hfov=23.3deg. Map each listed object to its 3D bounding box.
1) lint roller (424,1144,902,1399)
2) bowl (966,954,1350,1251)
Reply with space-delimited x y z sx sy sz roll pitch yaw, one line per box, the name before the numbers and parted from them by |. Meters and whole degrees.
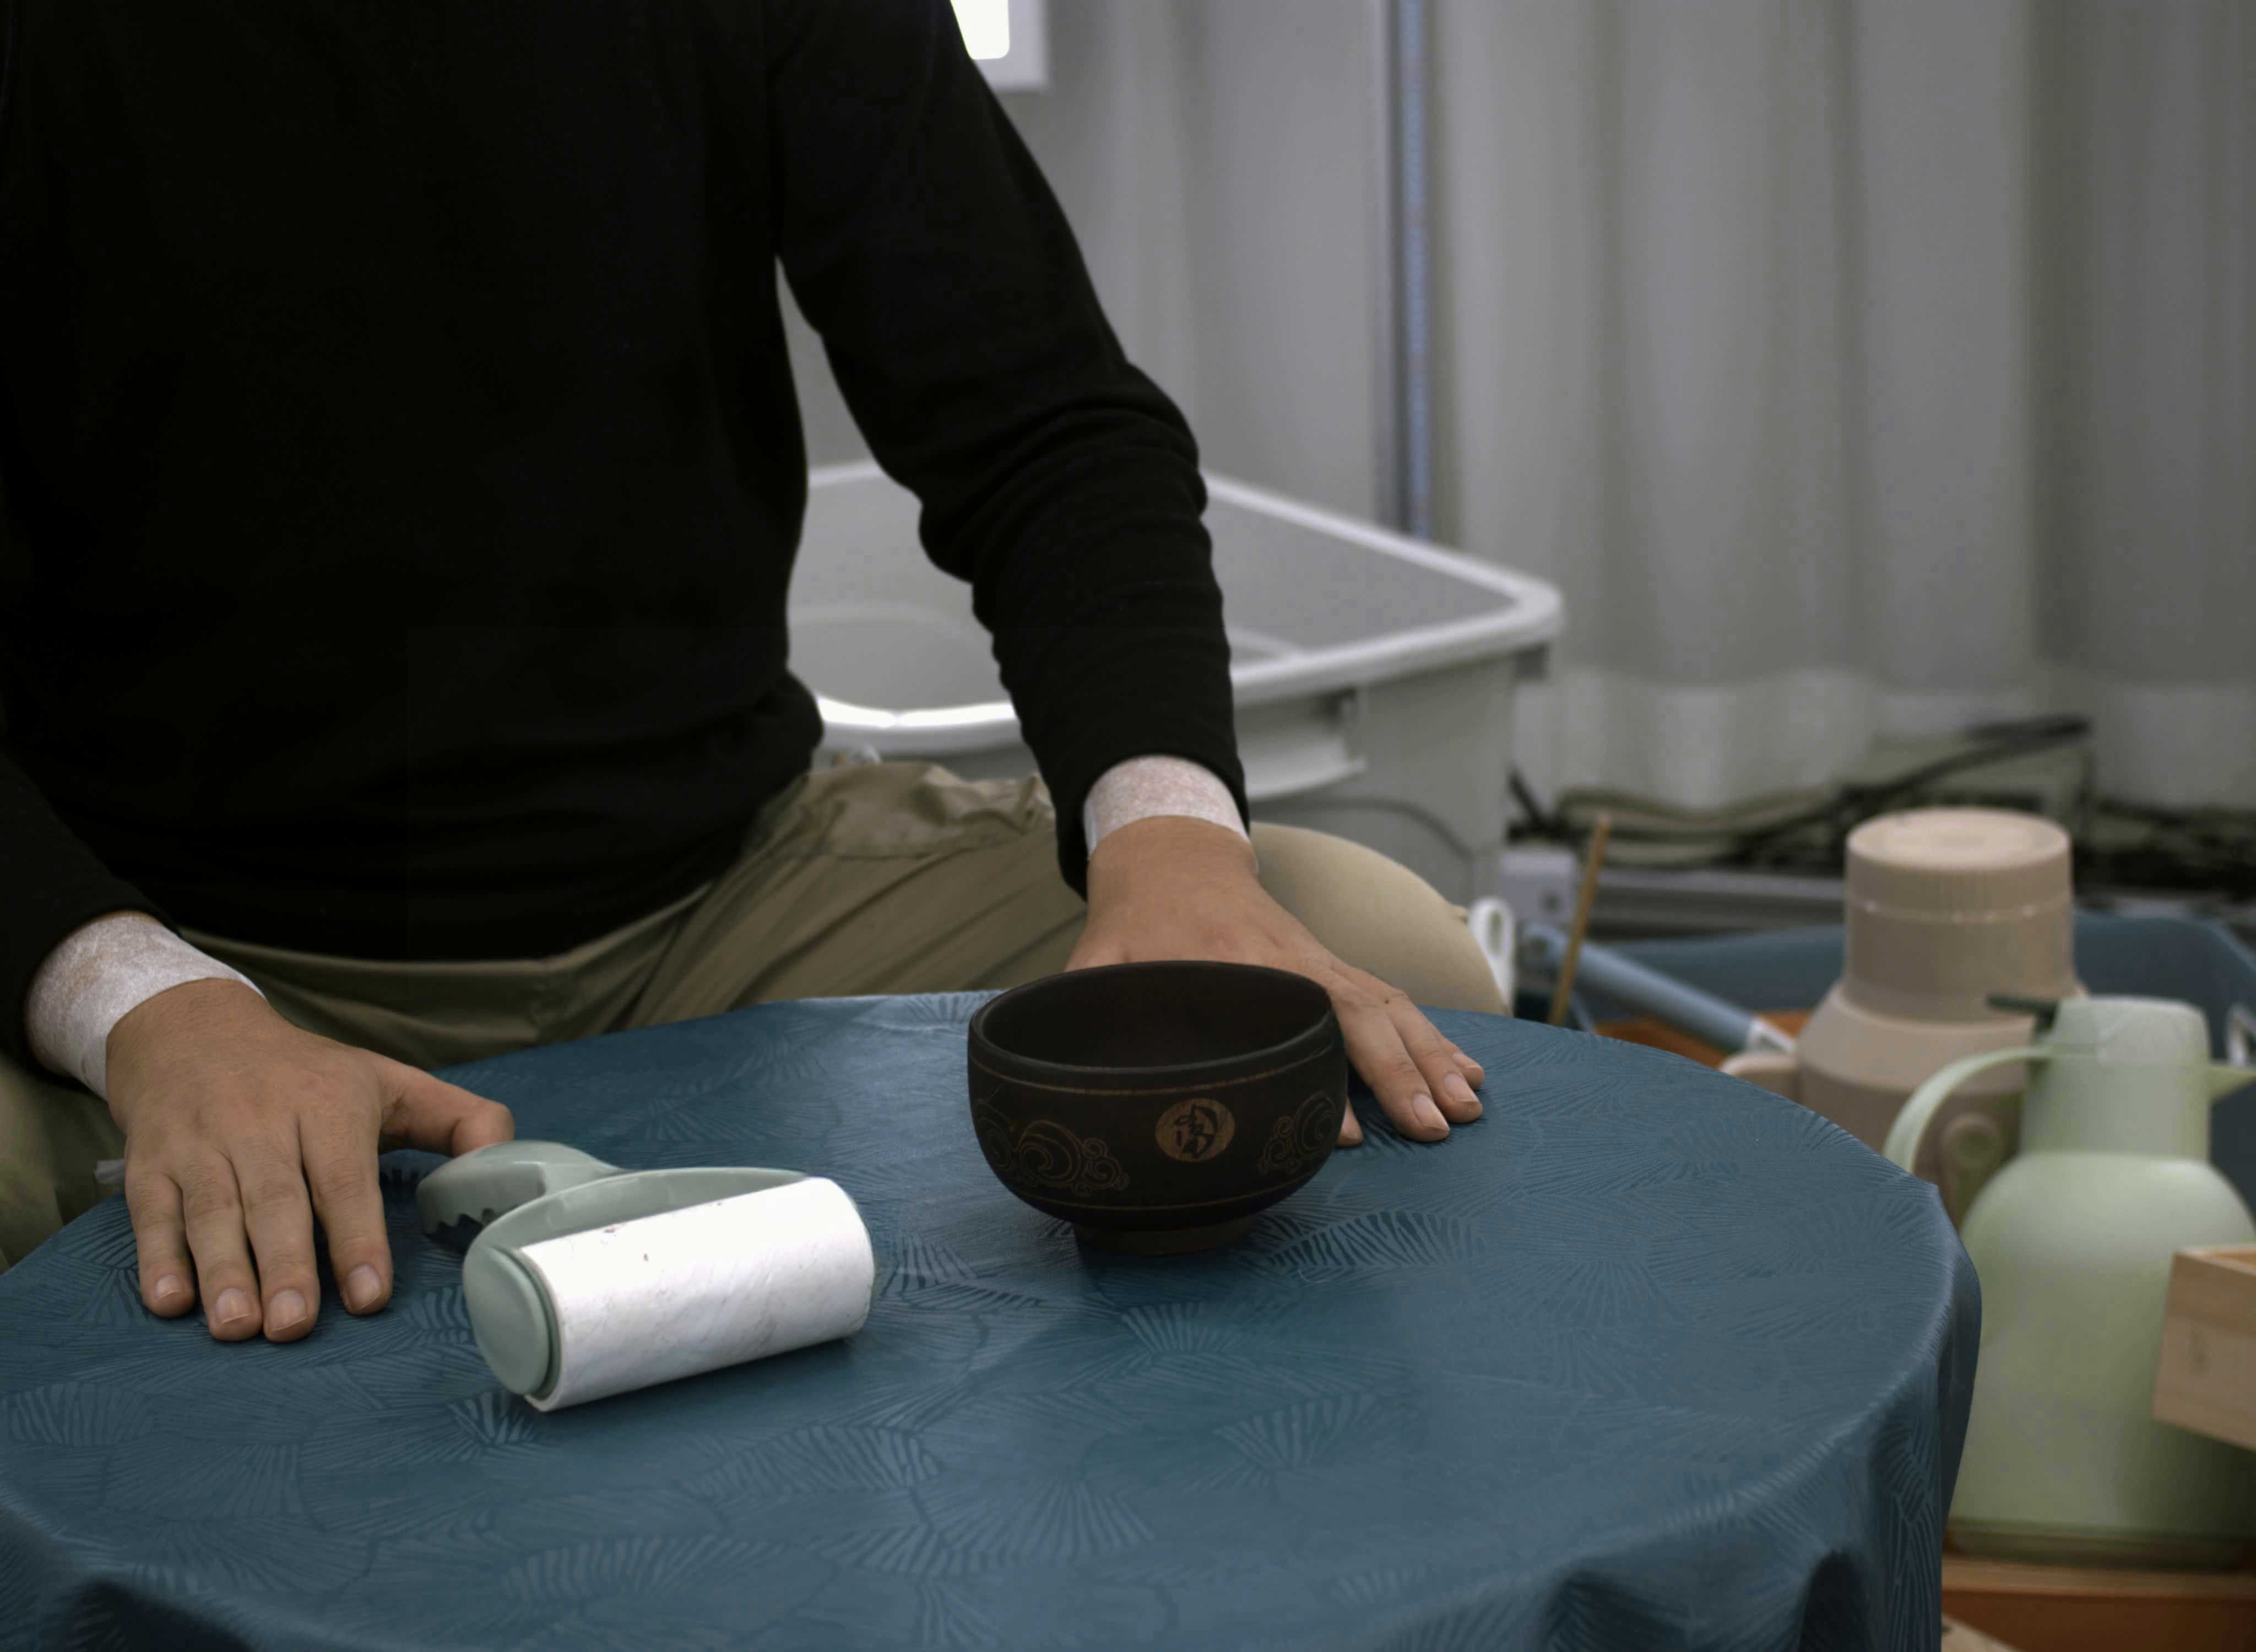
lint roller | -0.160 0.120 1.638 0.116 0.048 0.199 -12 16 -30
bowl | 0.010 0.088 1.672 0.117 0.069 0.119 -4 14 1
